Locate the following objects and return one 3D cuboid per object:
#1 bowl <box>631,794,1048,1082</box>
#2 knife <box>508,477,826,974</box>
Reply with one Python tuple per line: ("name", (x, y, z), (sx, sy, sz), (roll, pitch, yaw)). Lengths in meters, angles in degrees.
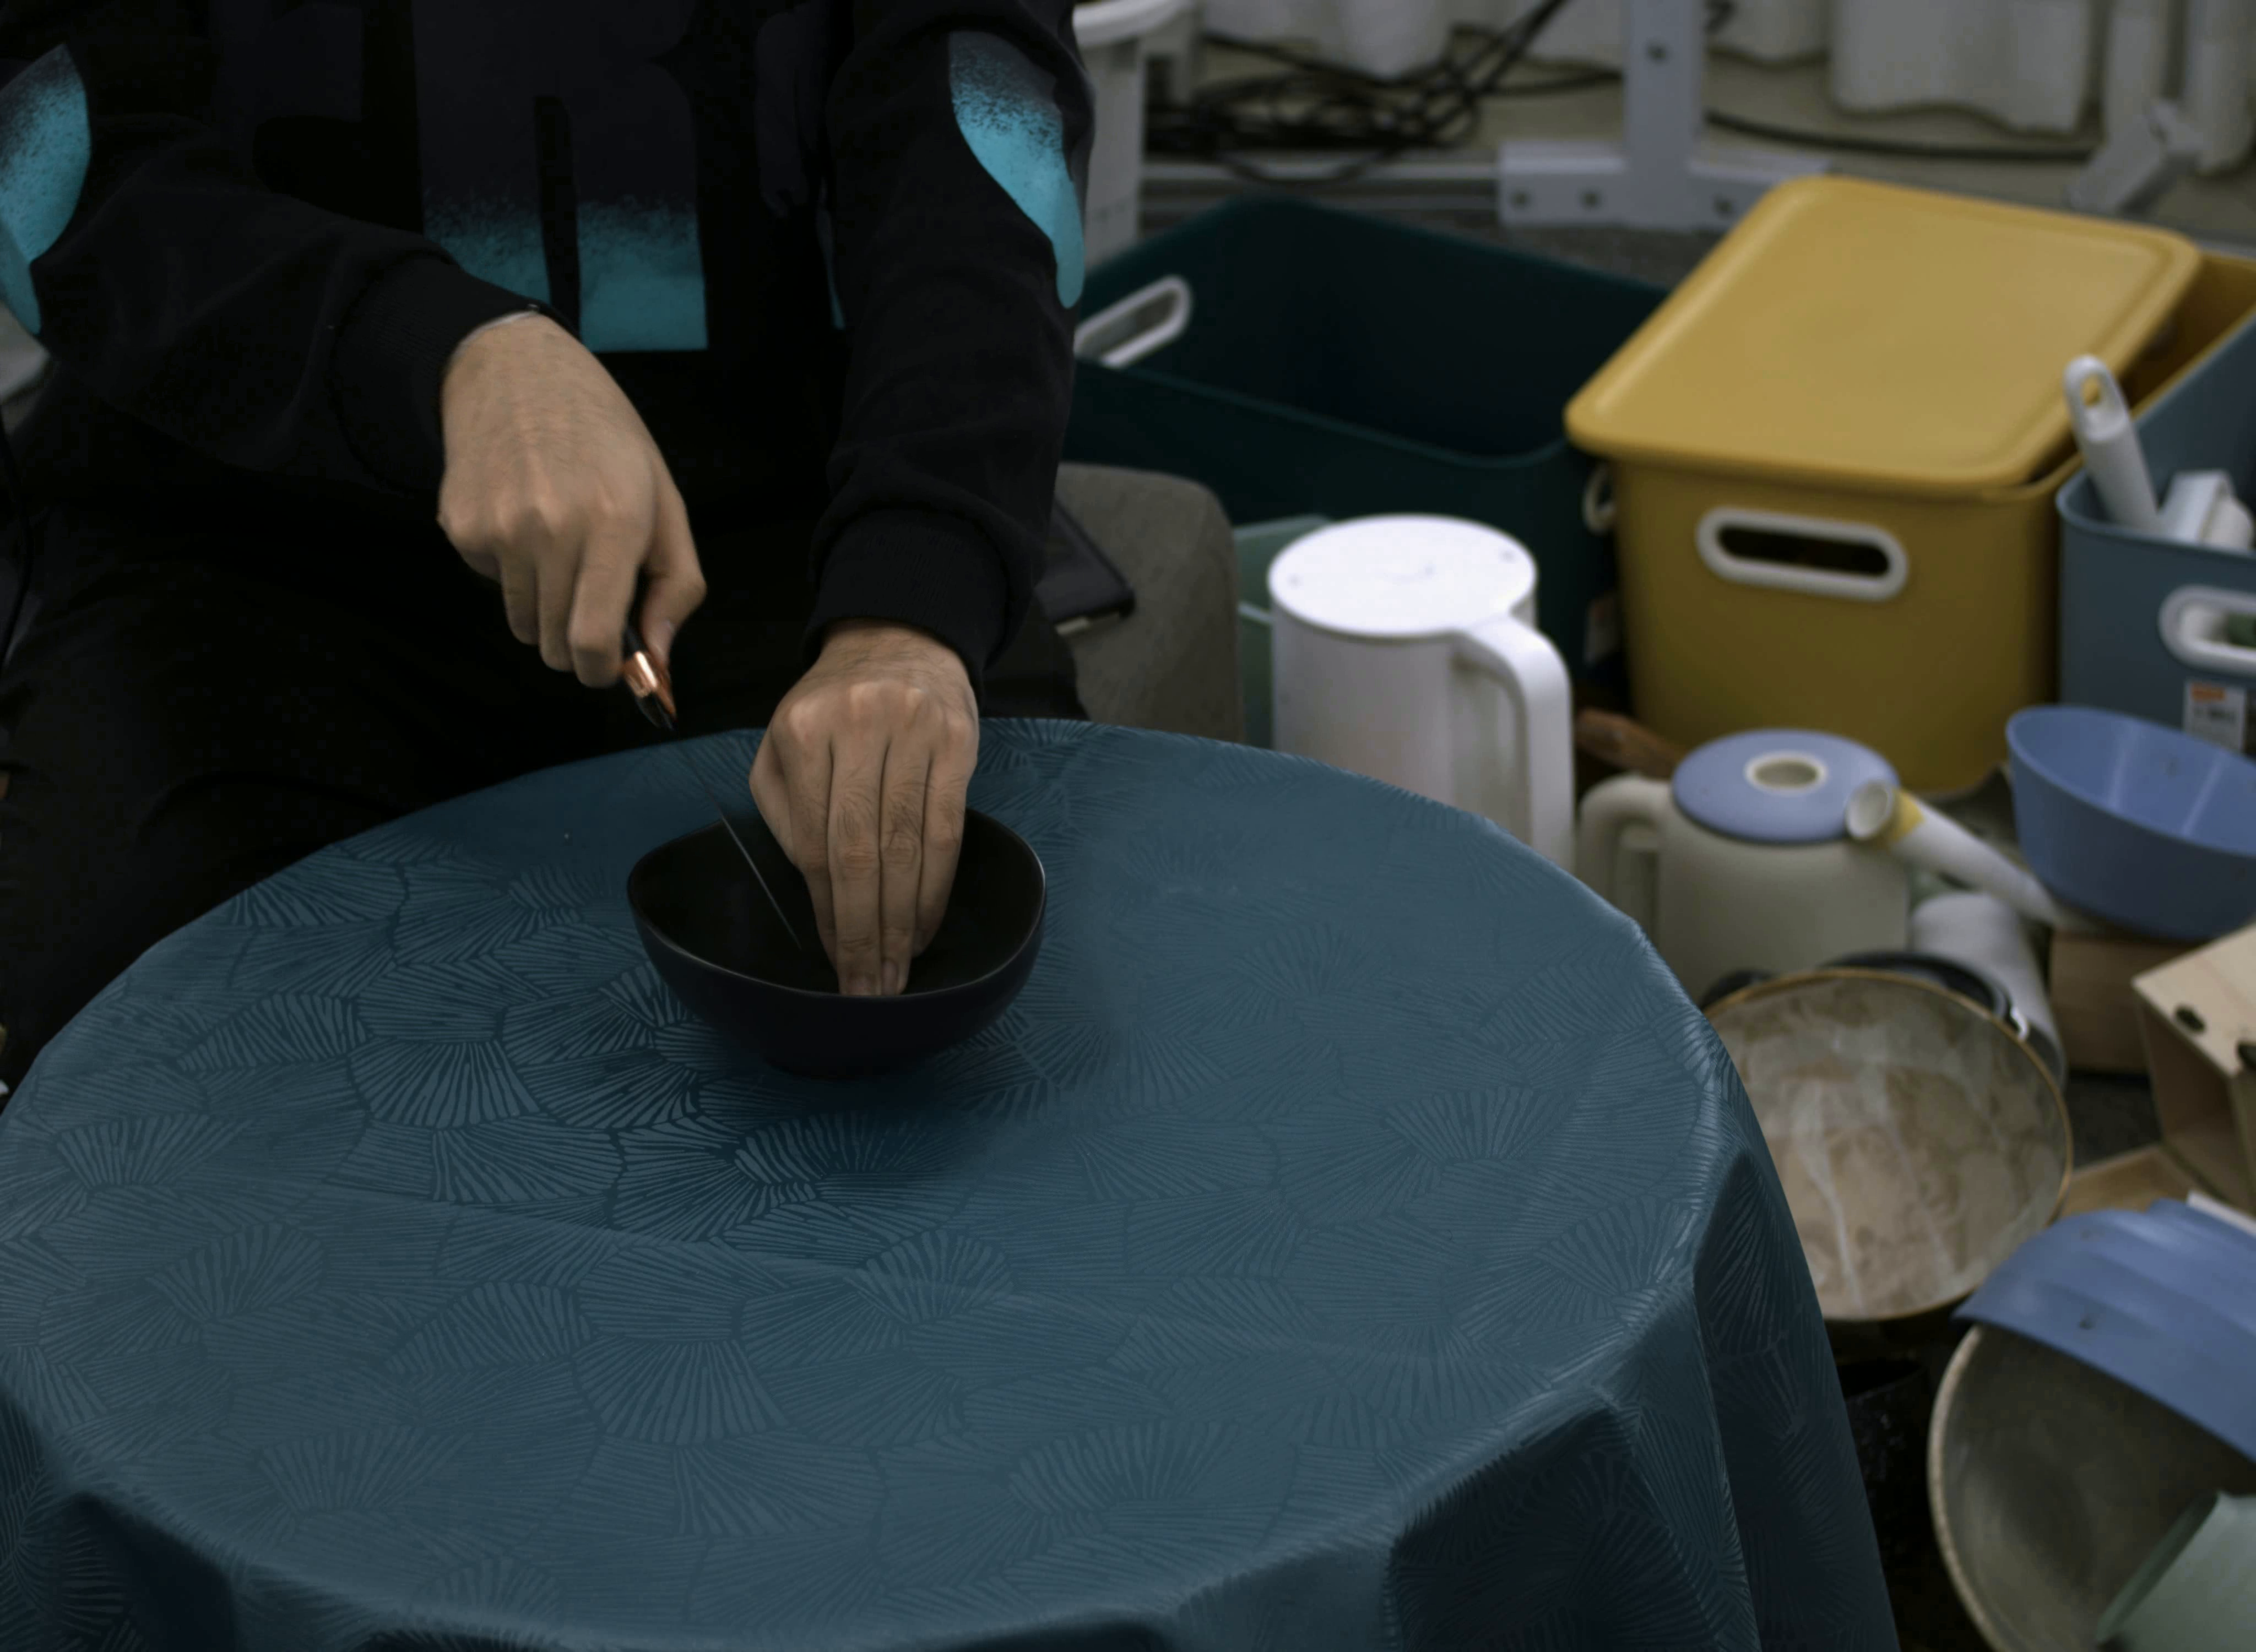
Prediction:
("bowl", (-0.100, 0.046, 1.948), (0.138, 0.066, 0.170), (-20, 30, -31))
("knife", (-0.161, -0.037, 1.967), (0.017, 0.026, 0.228), (-32, 63, -3))
